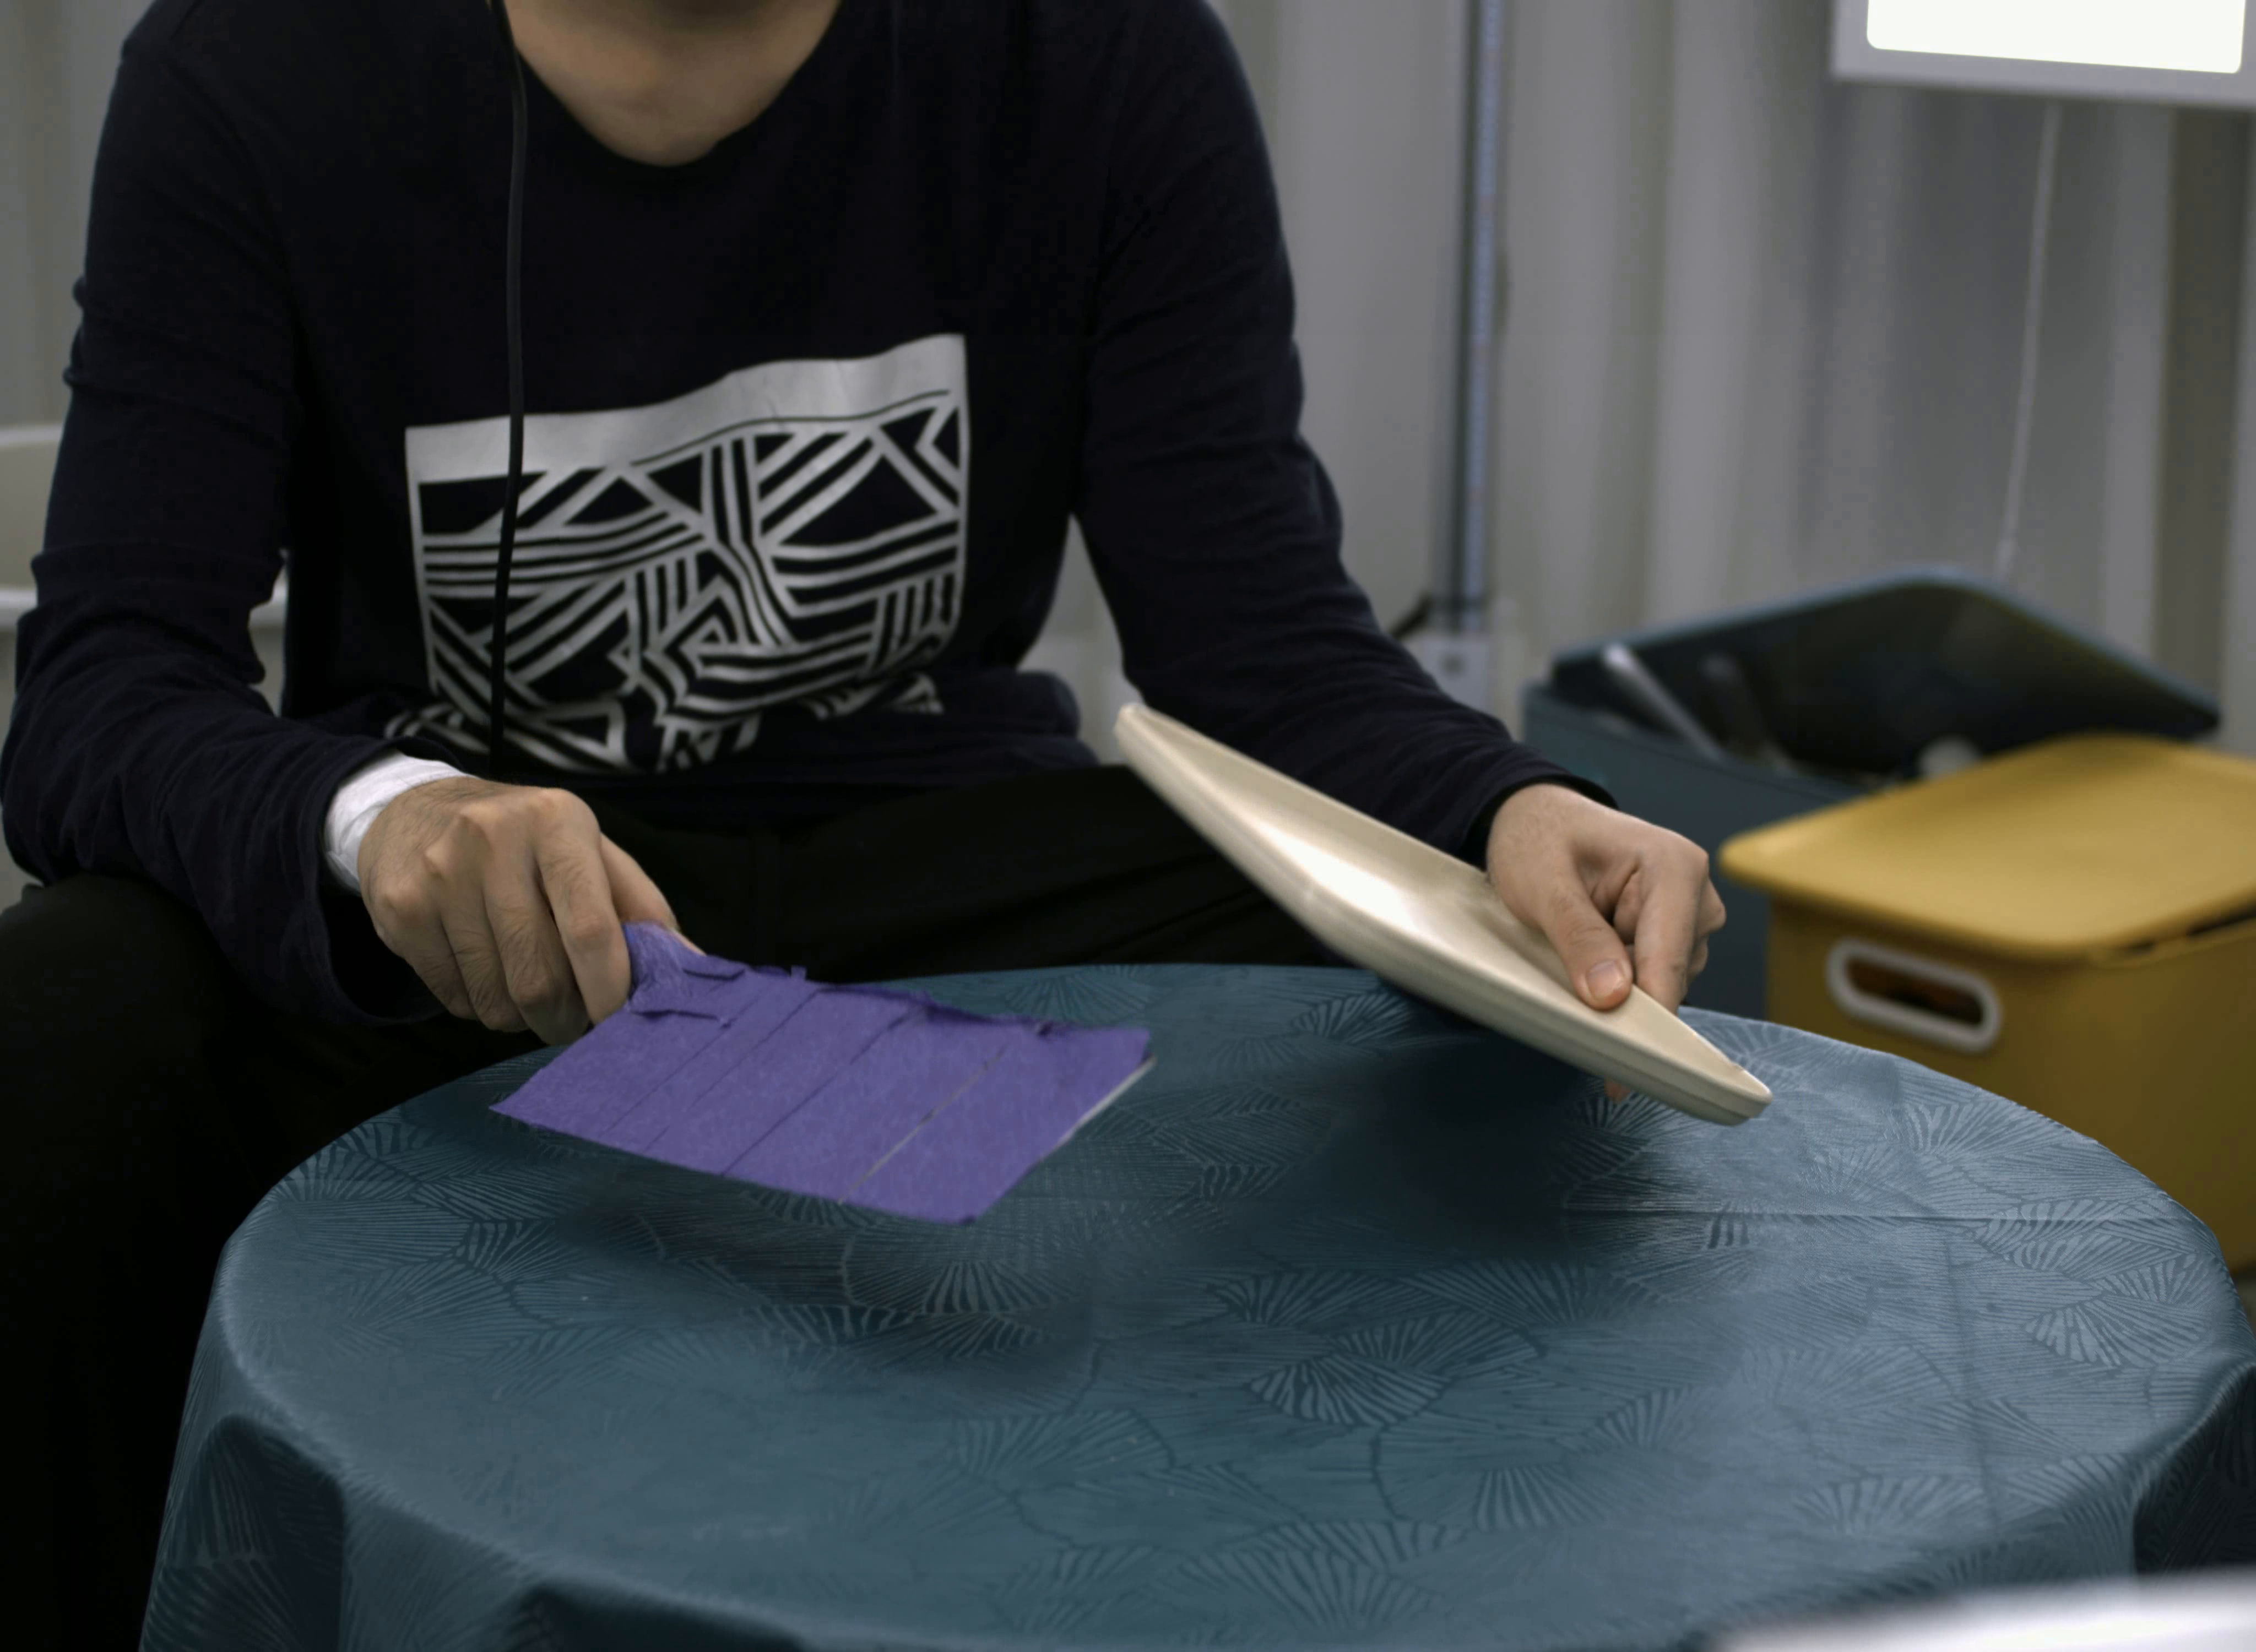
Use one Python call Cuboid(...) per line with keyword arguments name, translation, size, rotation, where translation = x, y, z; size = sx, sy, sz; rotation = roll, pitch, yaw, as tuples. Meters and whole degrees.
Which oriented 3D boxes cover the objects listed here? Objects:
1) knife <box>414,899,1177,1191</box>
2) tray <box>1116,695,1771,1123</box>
Cuboid(name="knife", translation=(-0.128, 0.063, 1.577), size=(0.311, 0.032, 0.104), rotation=(5, 35, 44))
Cuboid(name="tray", translation=(0.092, 0.026, 1.641), size=(0.172, 0.017, 0.237), rotation=(26, 7, -24))
